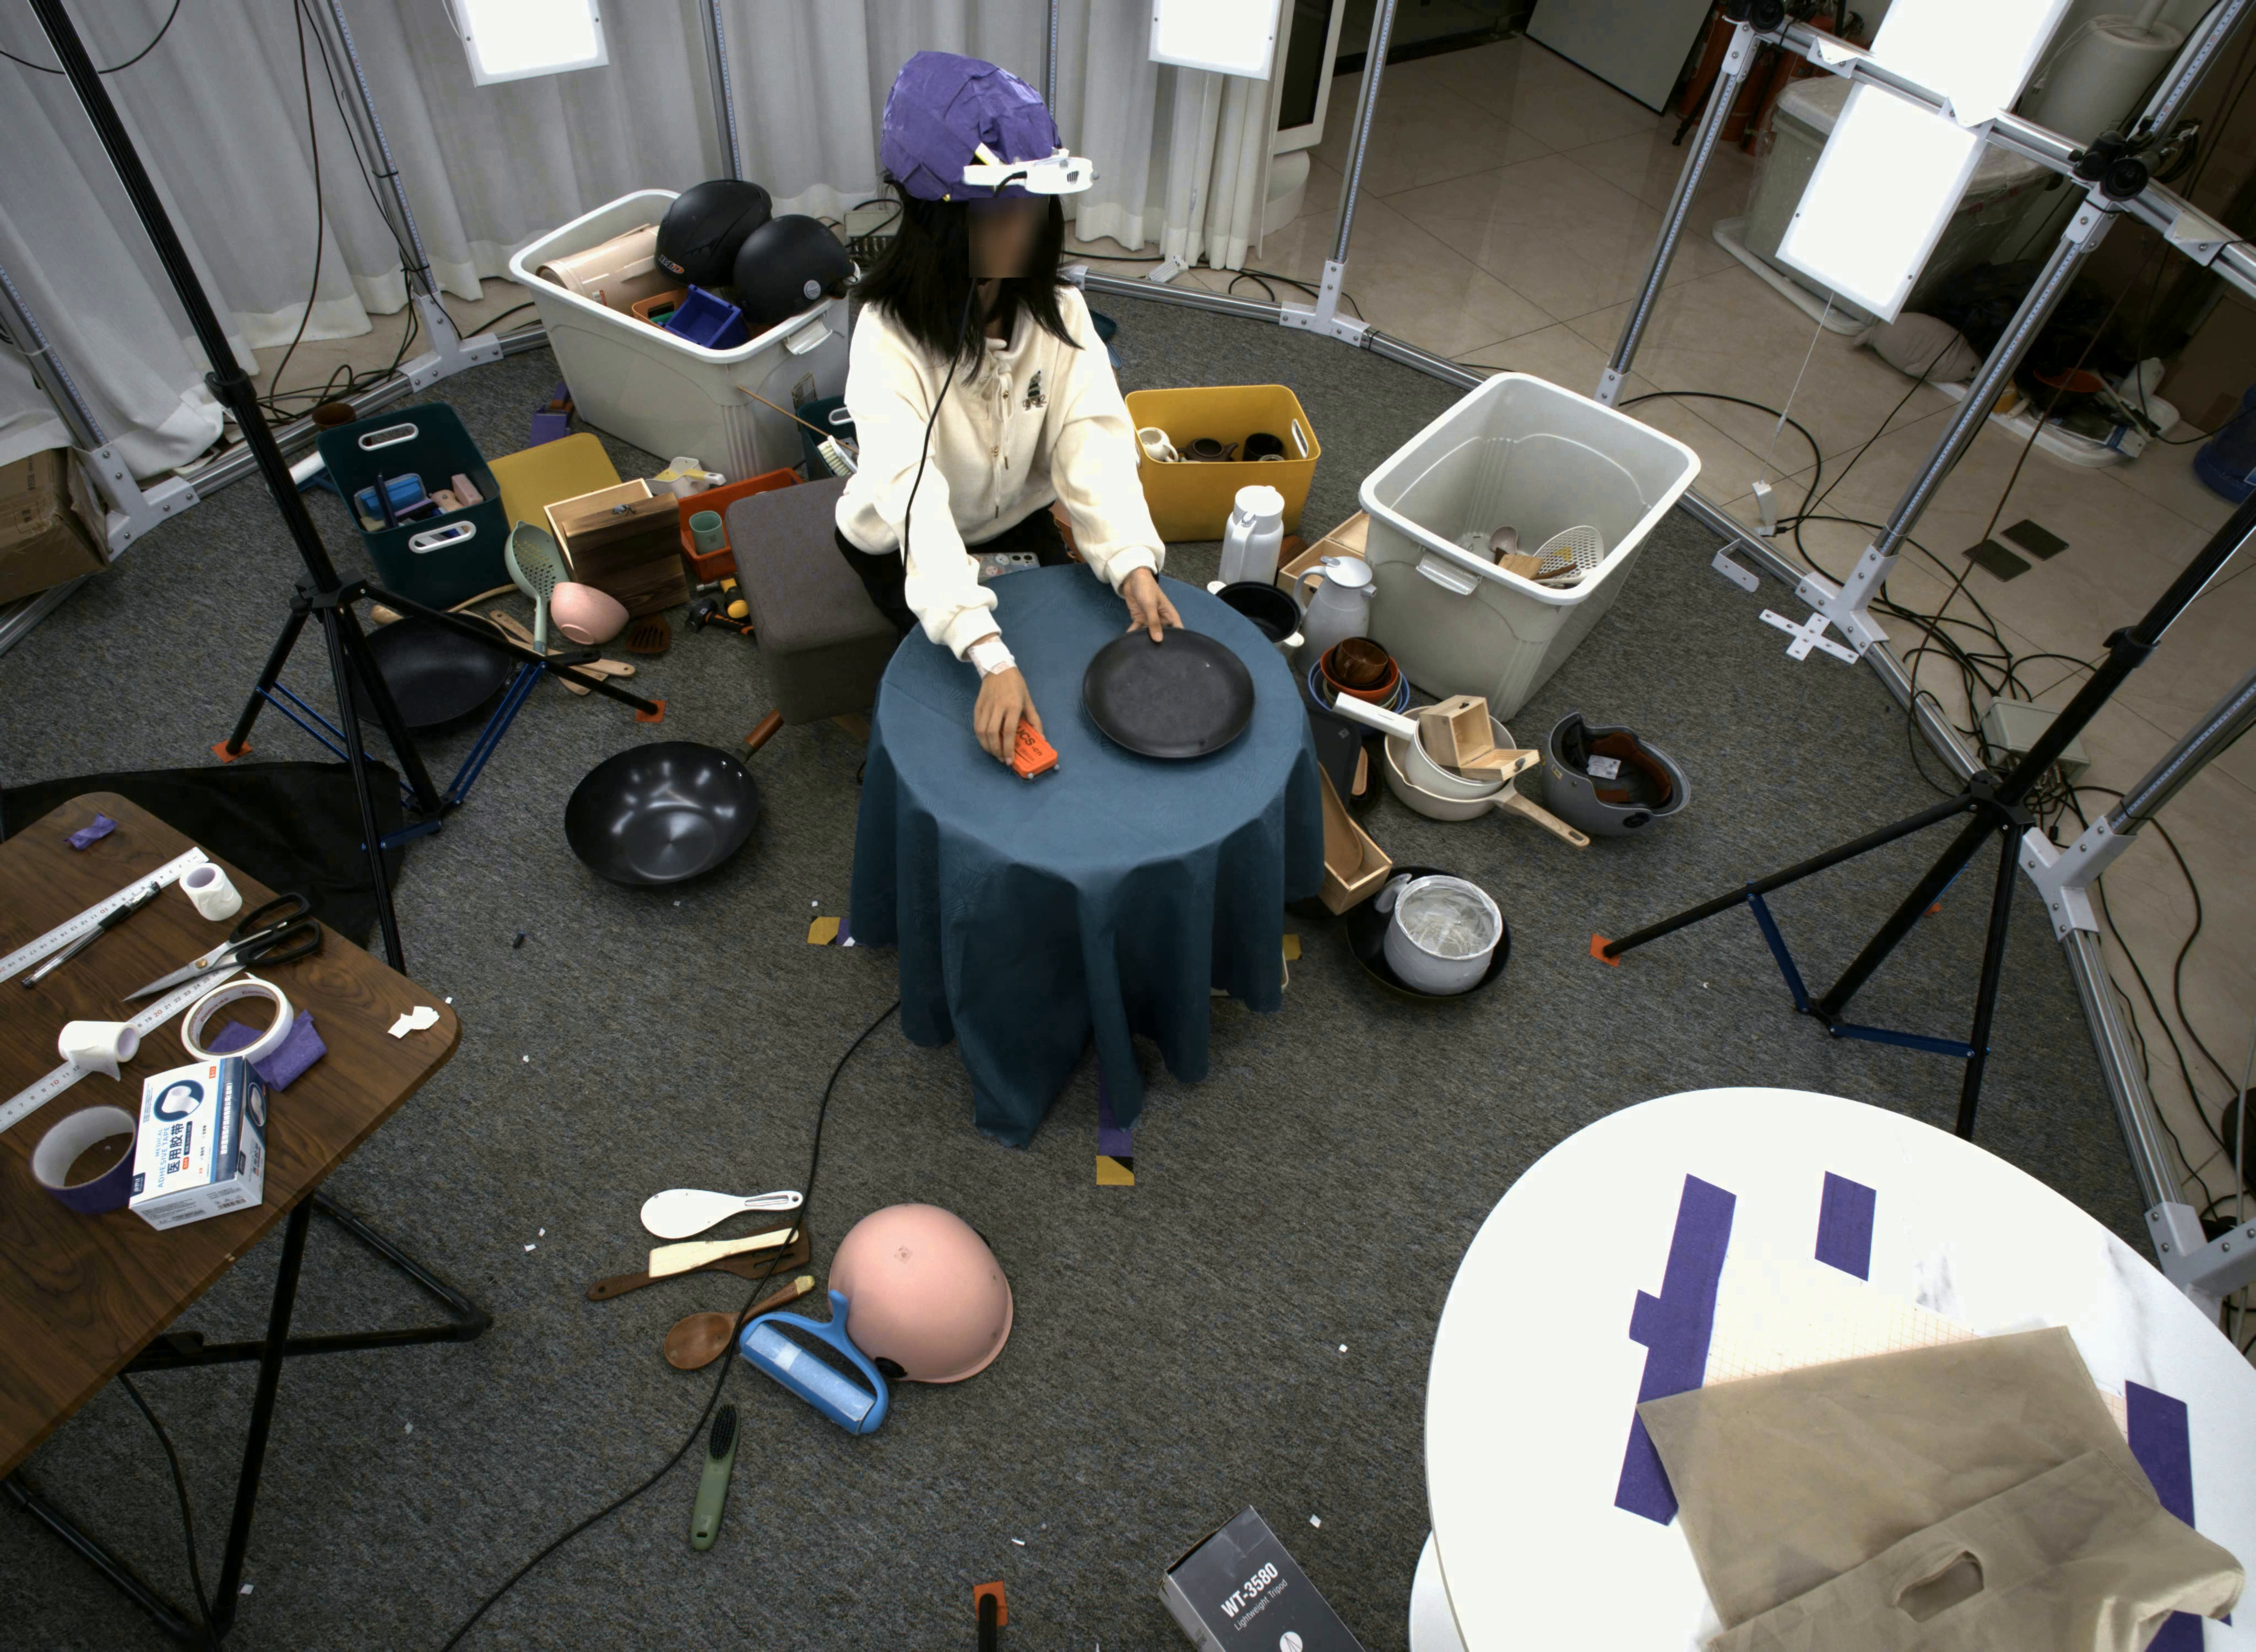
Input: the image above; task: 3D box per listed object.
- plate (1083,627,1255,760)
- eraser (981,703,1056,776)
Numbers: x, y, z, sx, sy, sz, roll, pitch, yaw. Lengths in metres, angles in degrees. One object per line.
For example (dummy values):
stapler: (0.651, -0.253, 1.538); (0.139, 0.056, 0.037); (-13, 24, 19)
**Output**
plate: (0.057, -0.187, 1.811); (0.244, 0.023, 0.250); (1, 54, -2)
eraser: (-0.147, -0.118, 1.732); (0.059, 0.022, 0.110); (-30, 59, -20)
